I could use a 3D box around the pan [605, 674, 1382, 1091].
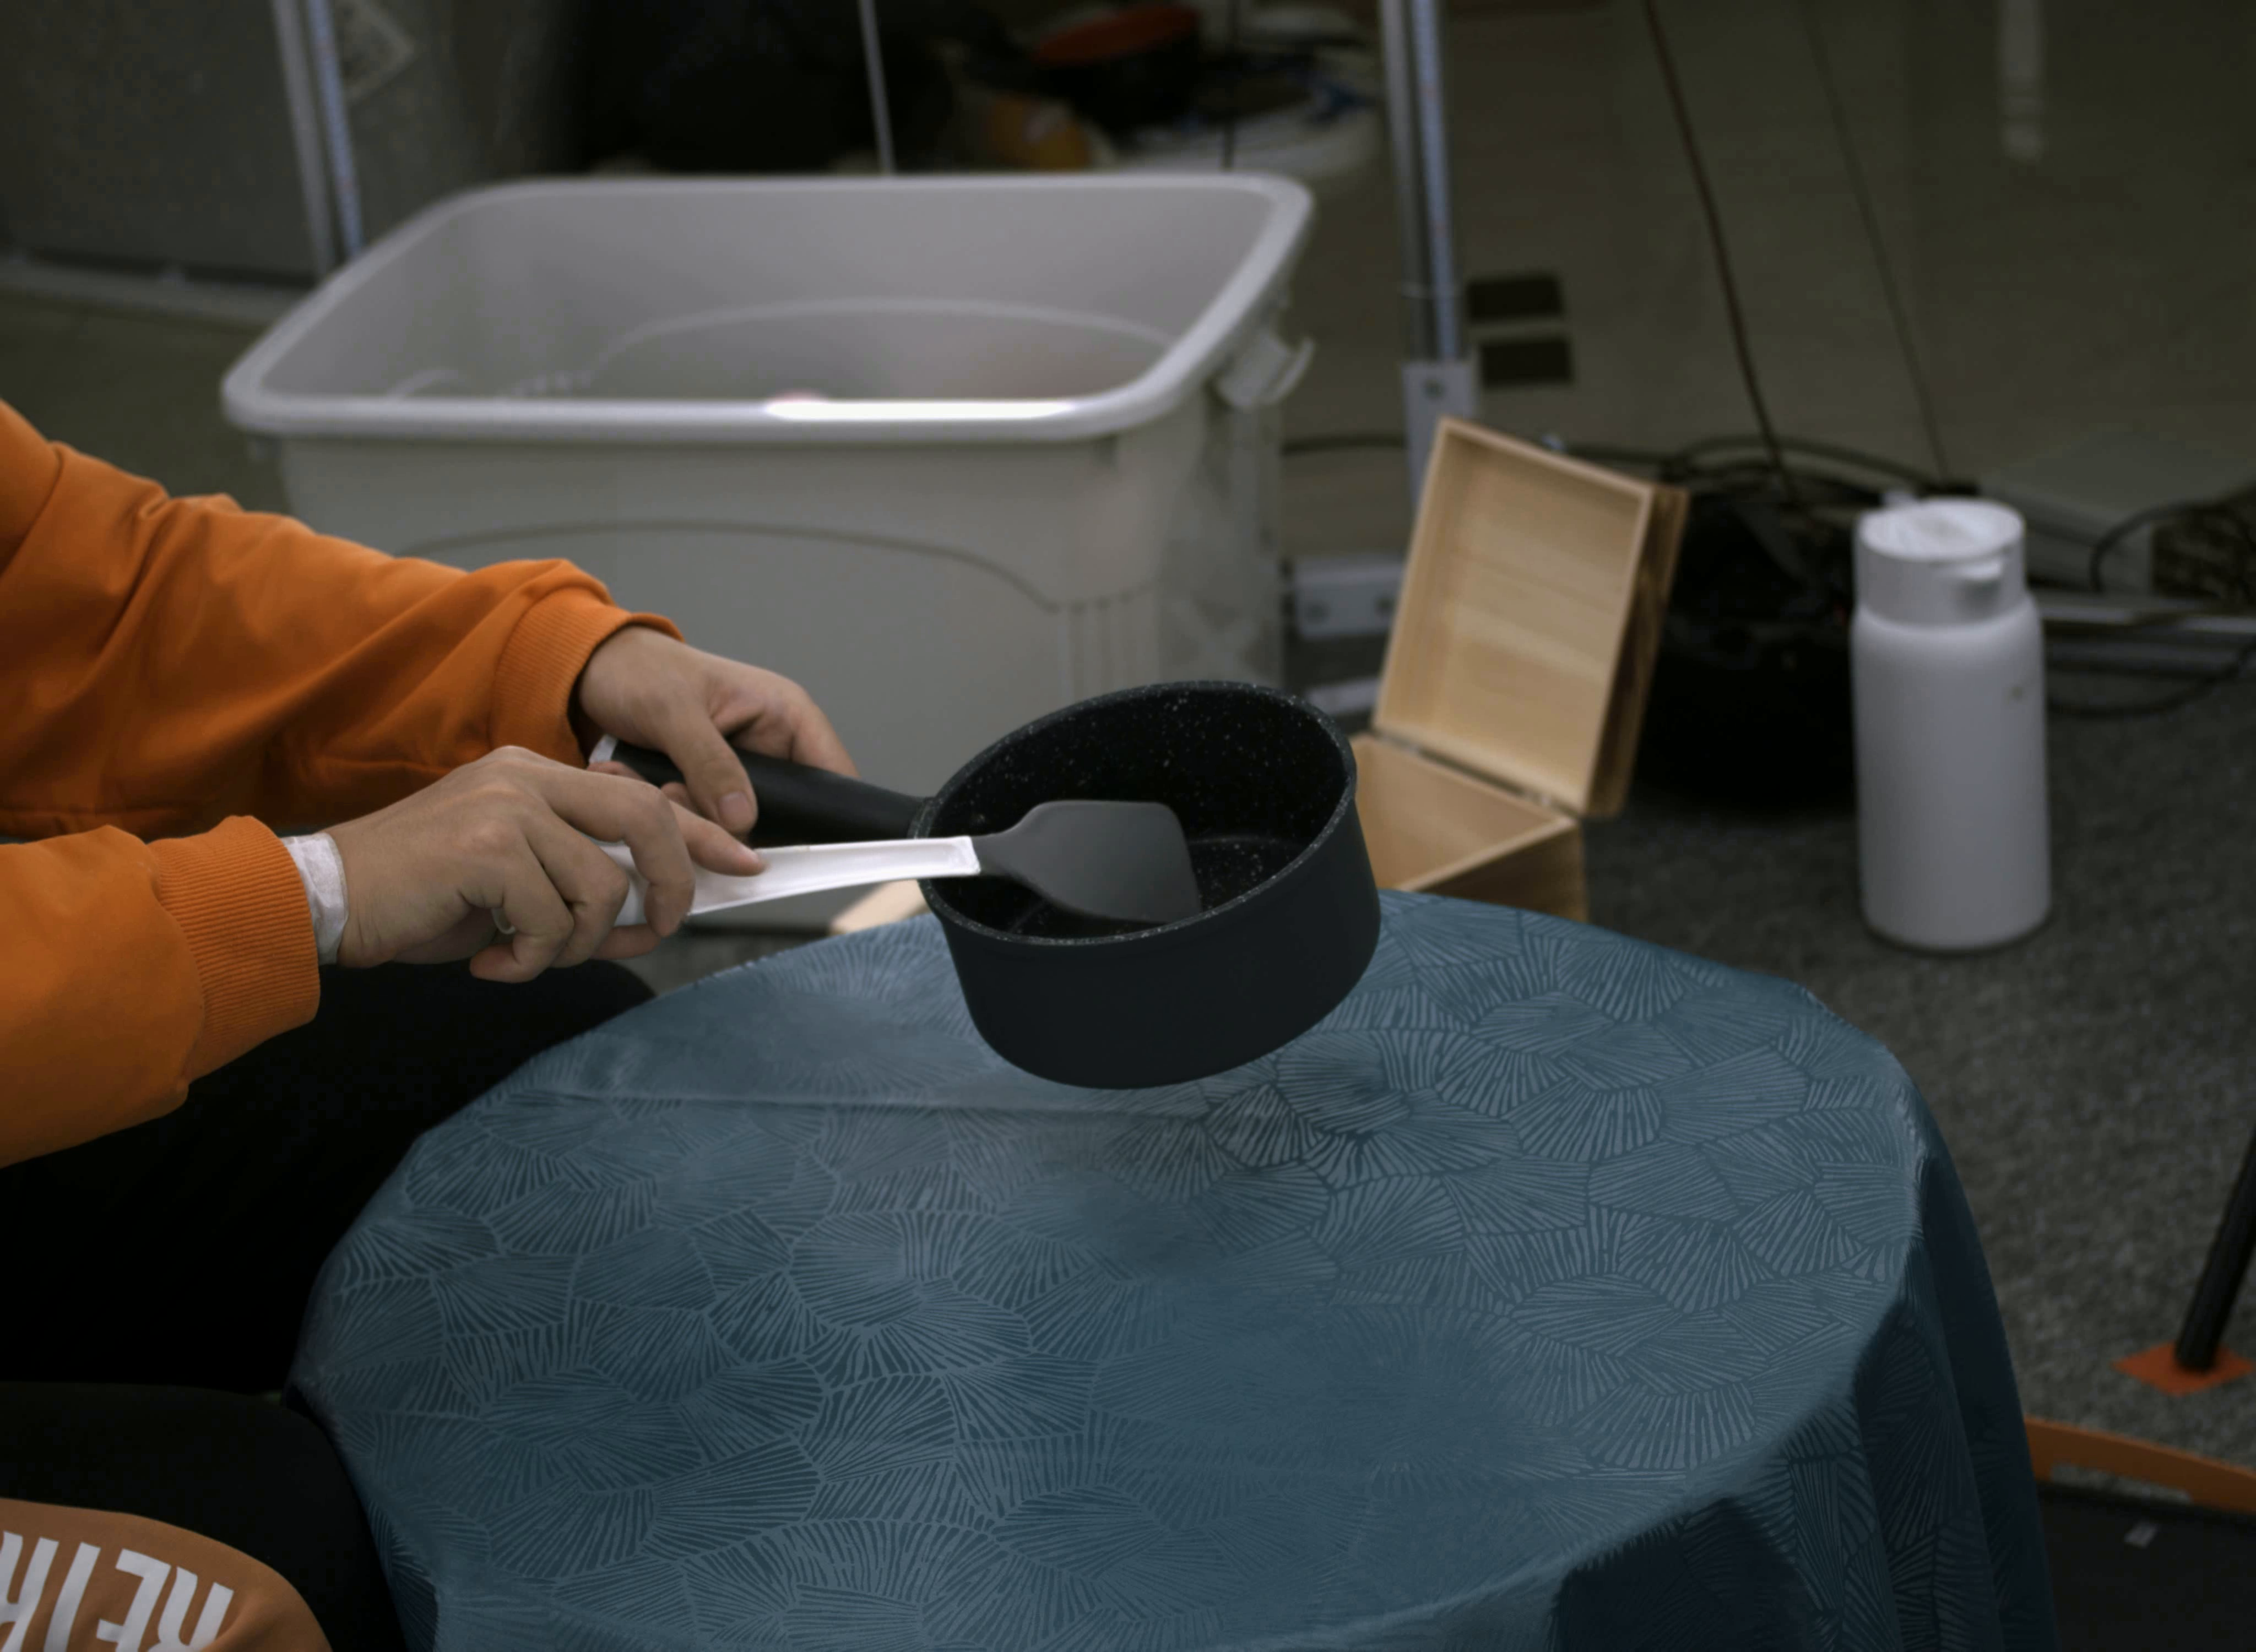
[{"bbox_3d":[-0.058,0.011,2.187,0.327,0.088,0.169,9,40,30],"label":"pan"}]

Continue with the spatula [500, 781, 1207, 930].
[{"bbox_3d":[-0.094,0.014,2.094,0.287,0.032,0.058,-4,66,-29],"label":"spatula"}]
